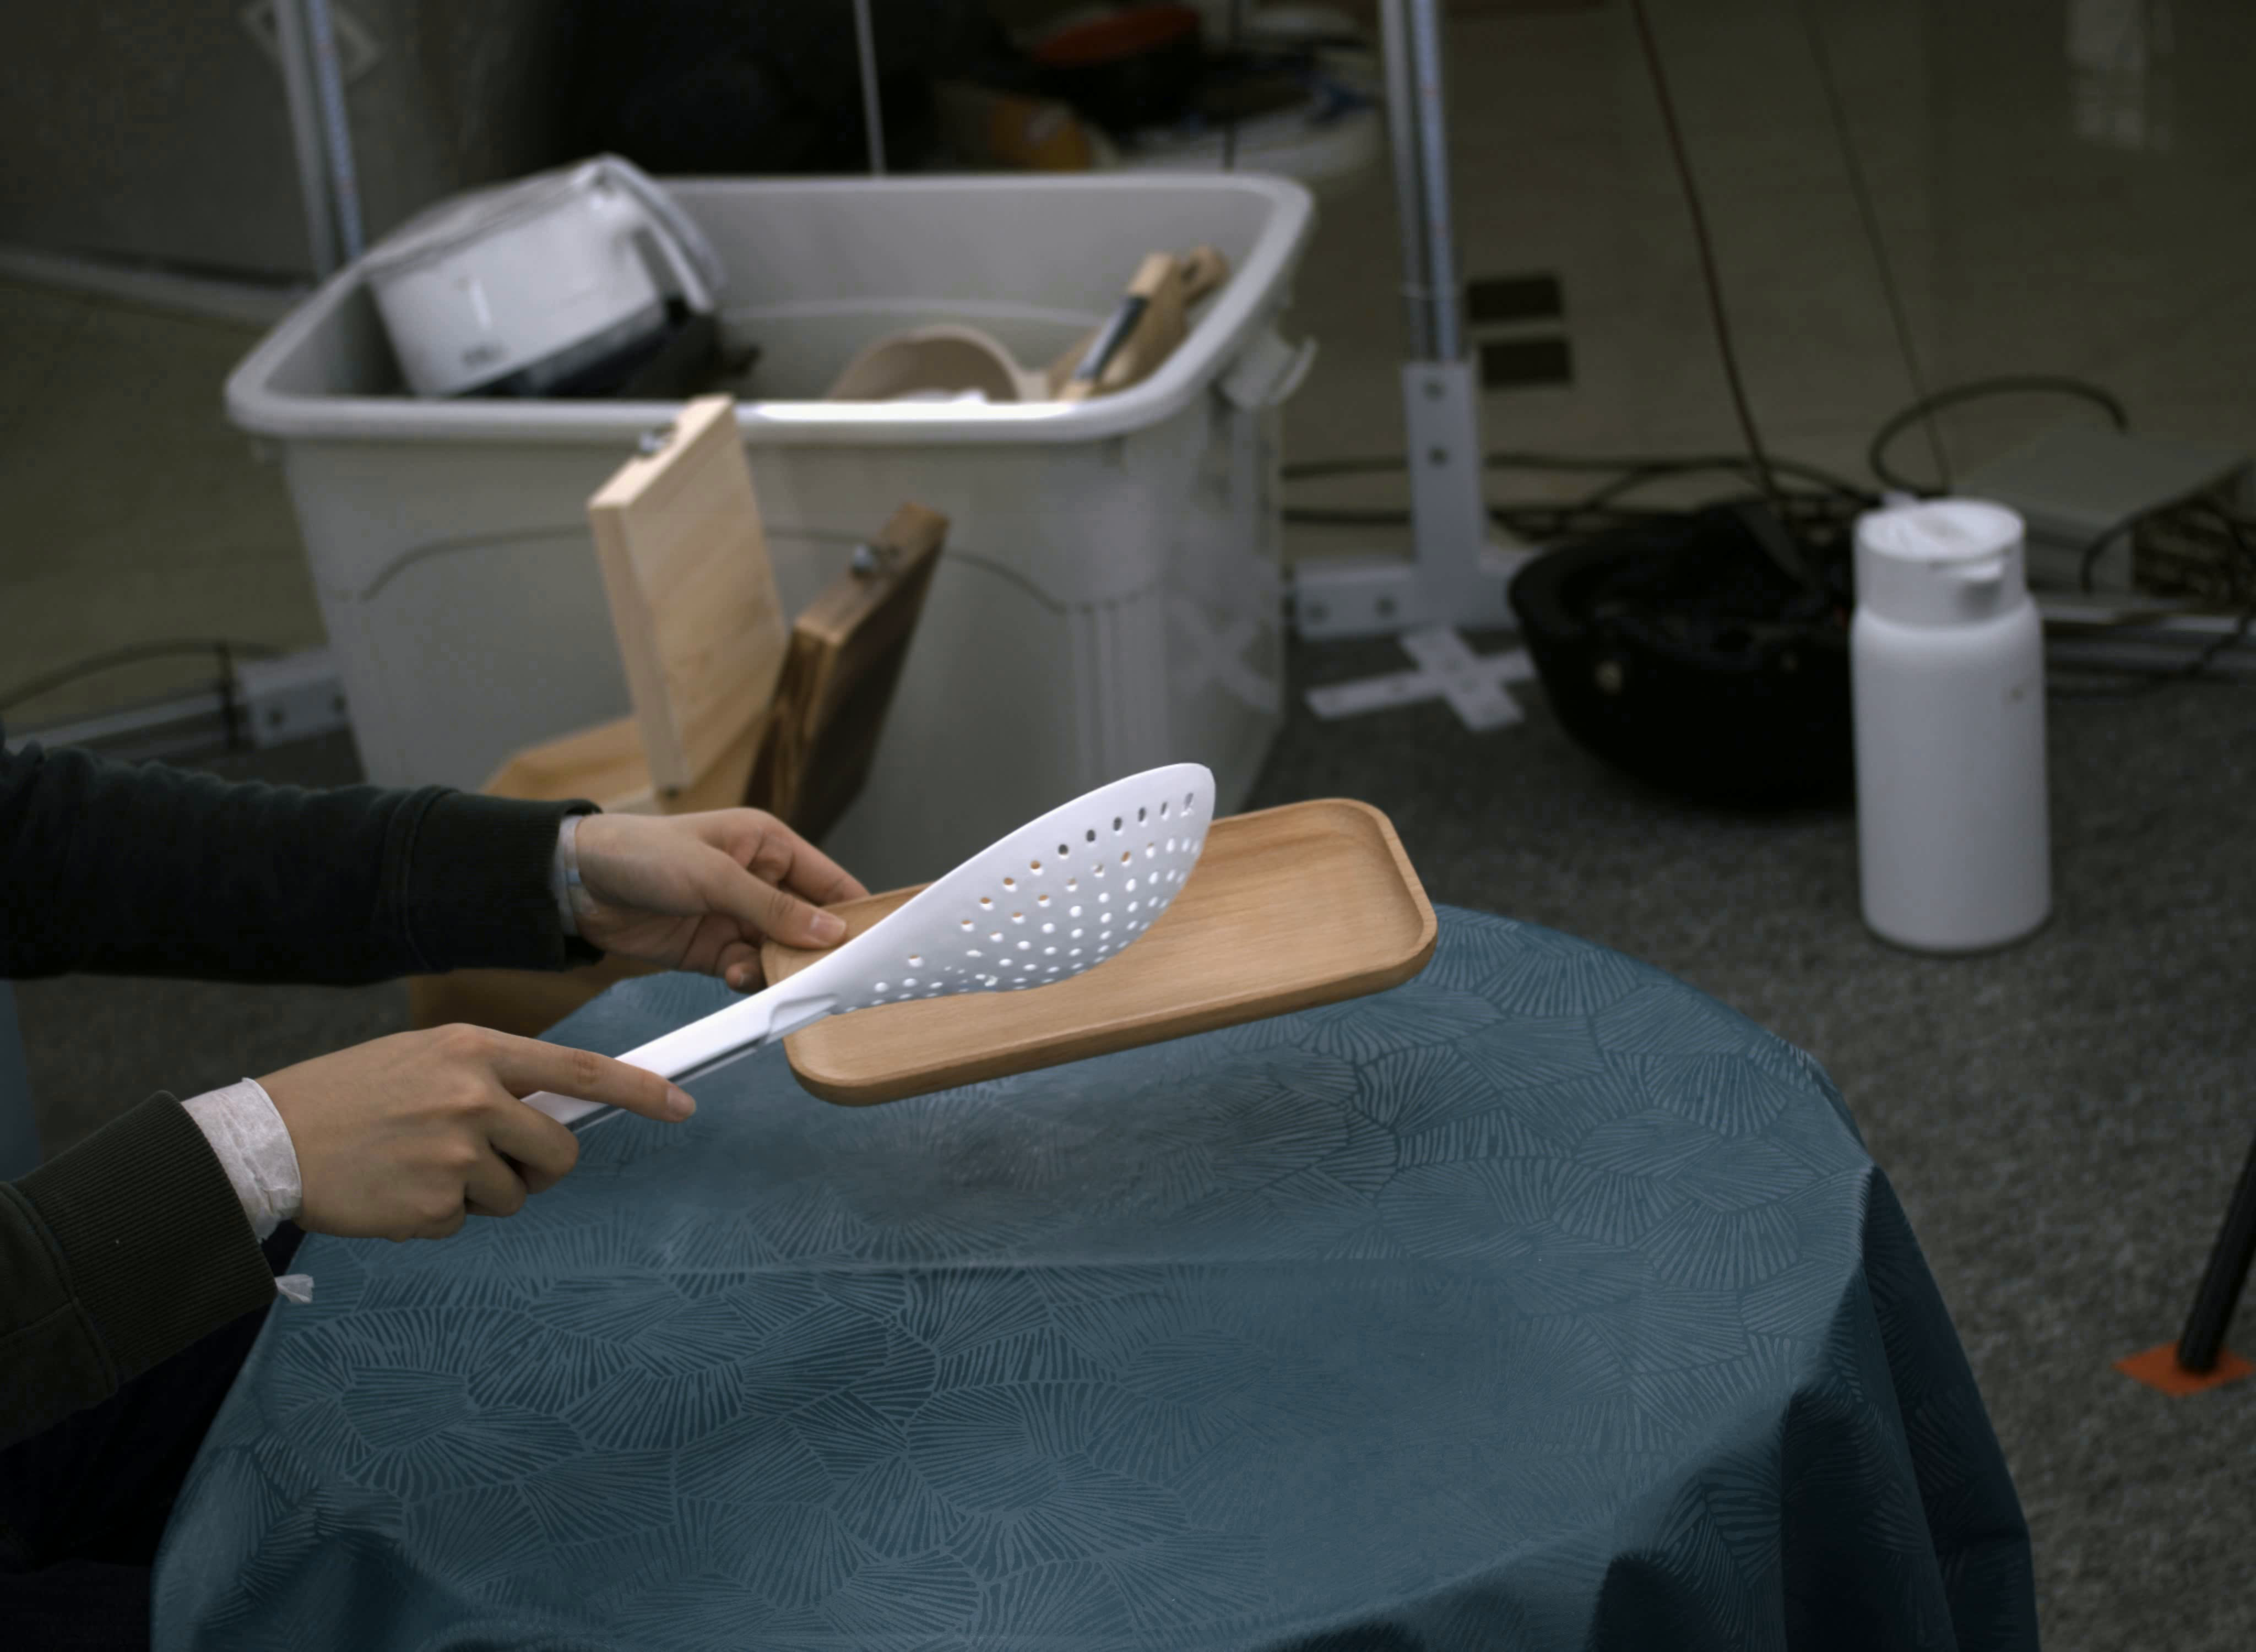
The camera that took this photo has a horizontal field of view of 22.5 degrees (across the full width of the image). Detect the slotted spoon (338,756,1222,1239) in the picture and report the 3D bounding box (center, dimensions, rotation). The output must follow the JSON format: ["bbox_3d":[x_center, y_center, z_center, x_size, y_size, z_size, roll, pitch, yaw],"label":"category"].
[{"bbox_3d":[-0.117,0.063,1.986,0.348,0.137,0.045,-20,73,-15],"label":"slotted spoon"}]

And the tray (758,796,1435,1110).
[{"bbox_3d":[-0.013,0.048,2.156,0.250,0.023,0.128,-13,31,-5],"label":"tray"}]
